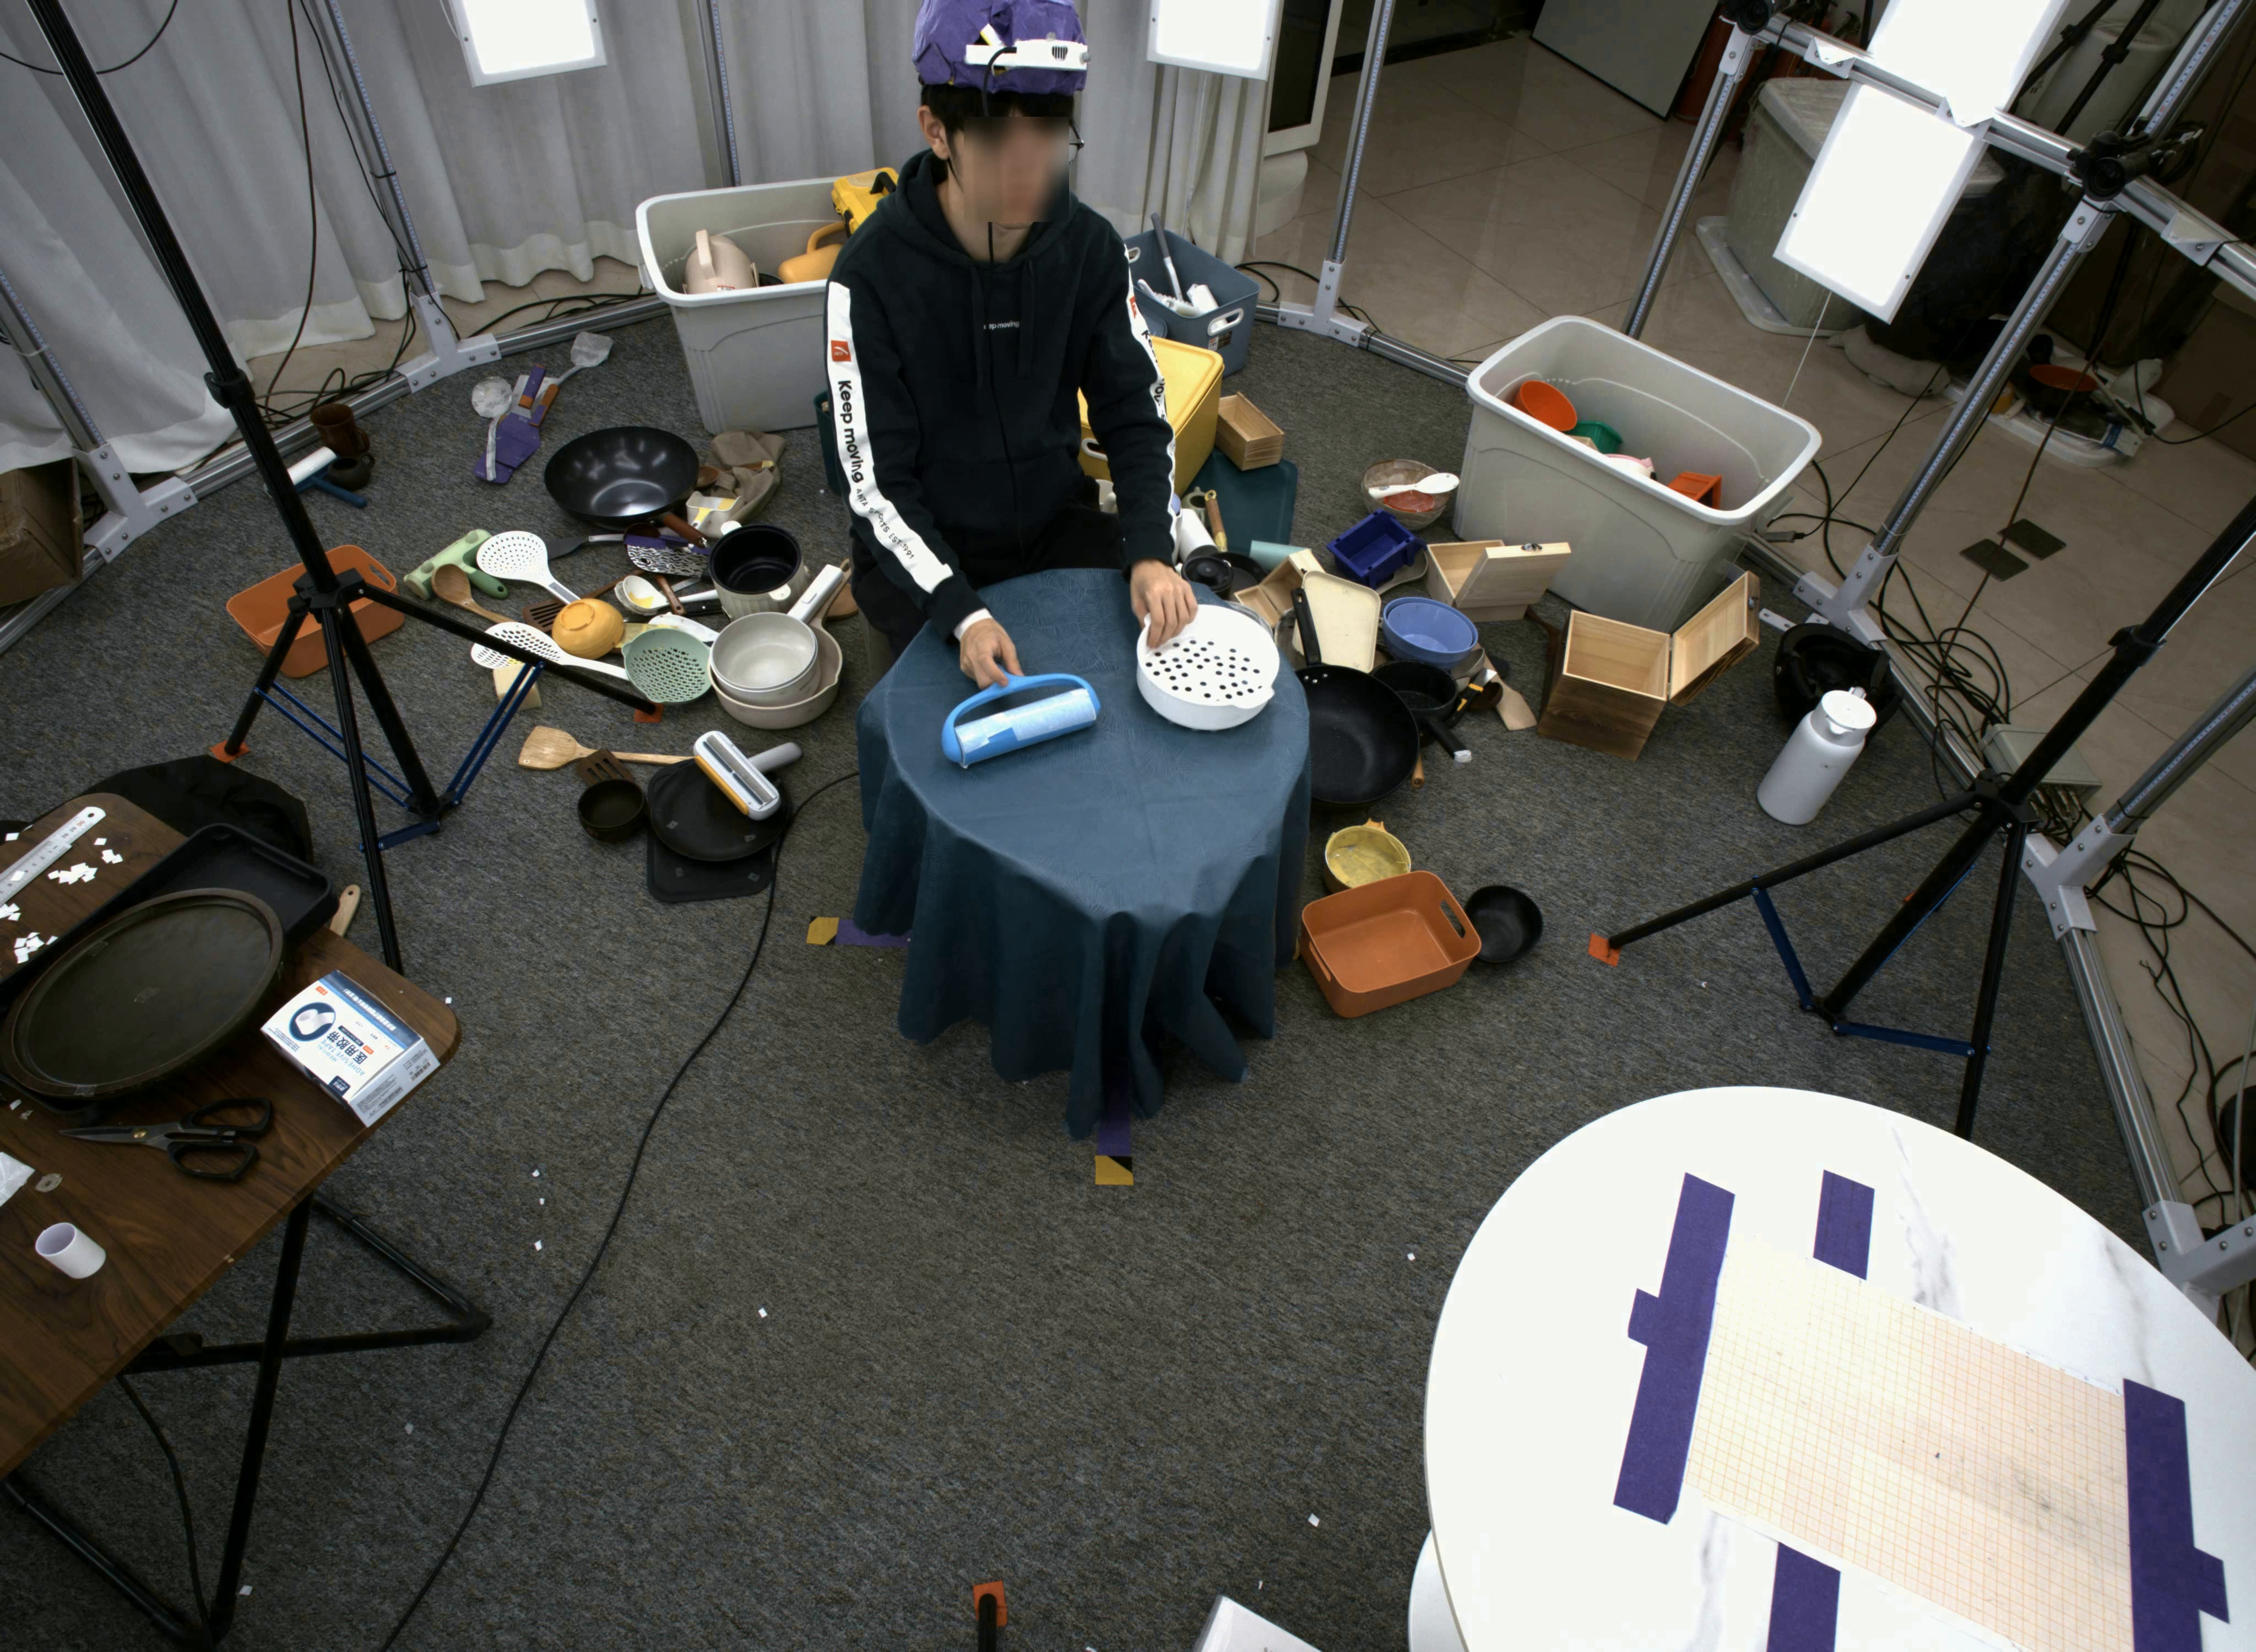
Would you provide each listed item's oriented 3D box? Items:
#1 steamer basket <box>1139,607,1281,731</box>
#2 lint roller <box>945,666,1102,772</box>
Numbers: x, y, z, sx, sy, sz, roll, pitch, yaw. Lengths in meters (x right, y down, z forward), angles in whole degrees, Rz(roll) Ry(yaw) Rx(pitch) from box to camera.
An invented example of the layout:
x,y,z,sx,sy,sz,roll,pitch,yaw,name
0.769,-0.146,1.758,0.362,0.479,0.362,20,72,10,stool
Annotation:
x,y,z,sx,sy,sz,roll,pitch,yaw,name
0.114,-0.221,1.822,0.203,0.067,0.235,-28,56,-26,steamer basket
-0.169,-0.174,1.771,0.230,0.066,0.184,-24,57,-20,lint roller
